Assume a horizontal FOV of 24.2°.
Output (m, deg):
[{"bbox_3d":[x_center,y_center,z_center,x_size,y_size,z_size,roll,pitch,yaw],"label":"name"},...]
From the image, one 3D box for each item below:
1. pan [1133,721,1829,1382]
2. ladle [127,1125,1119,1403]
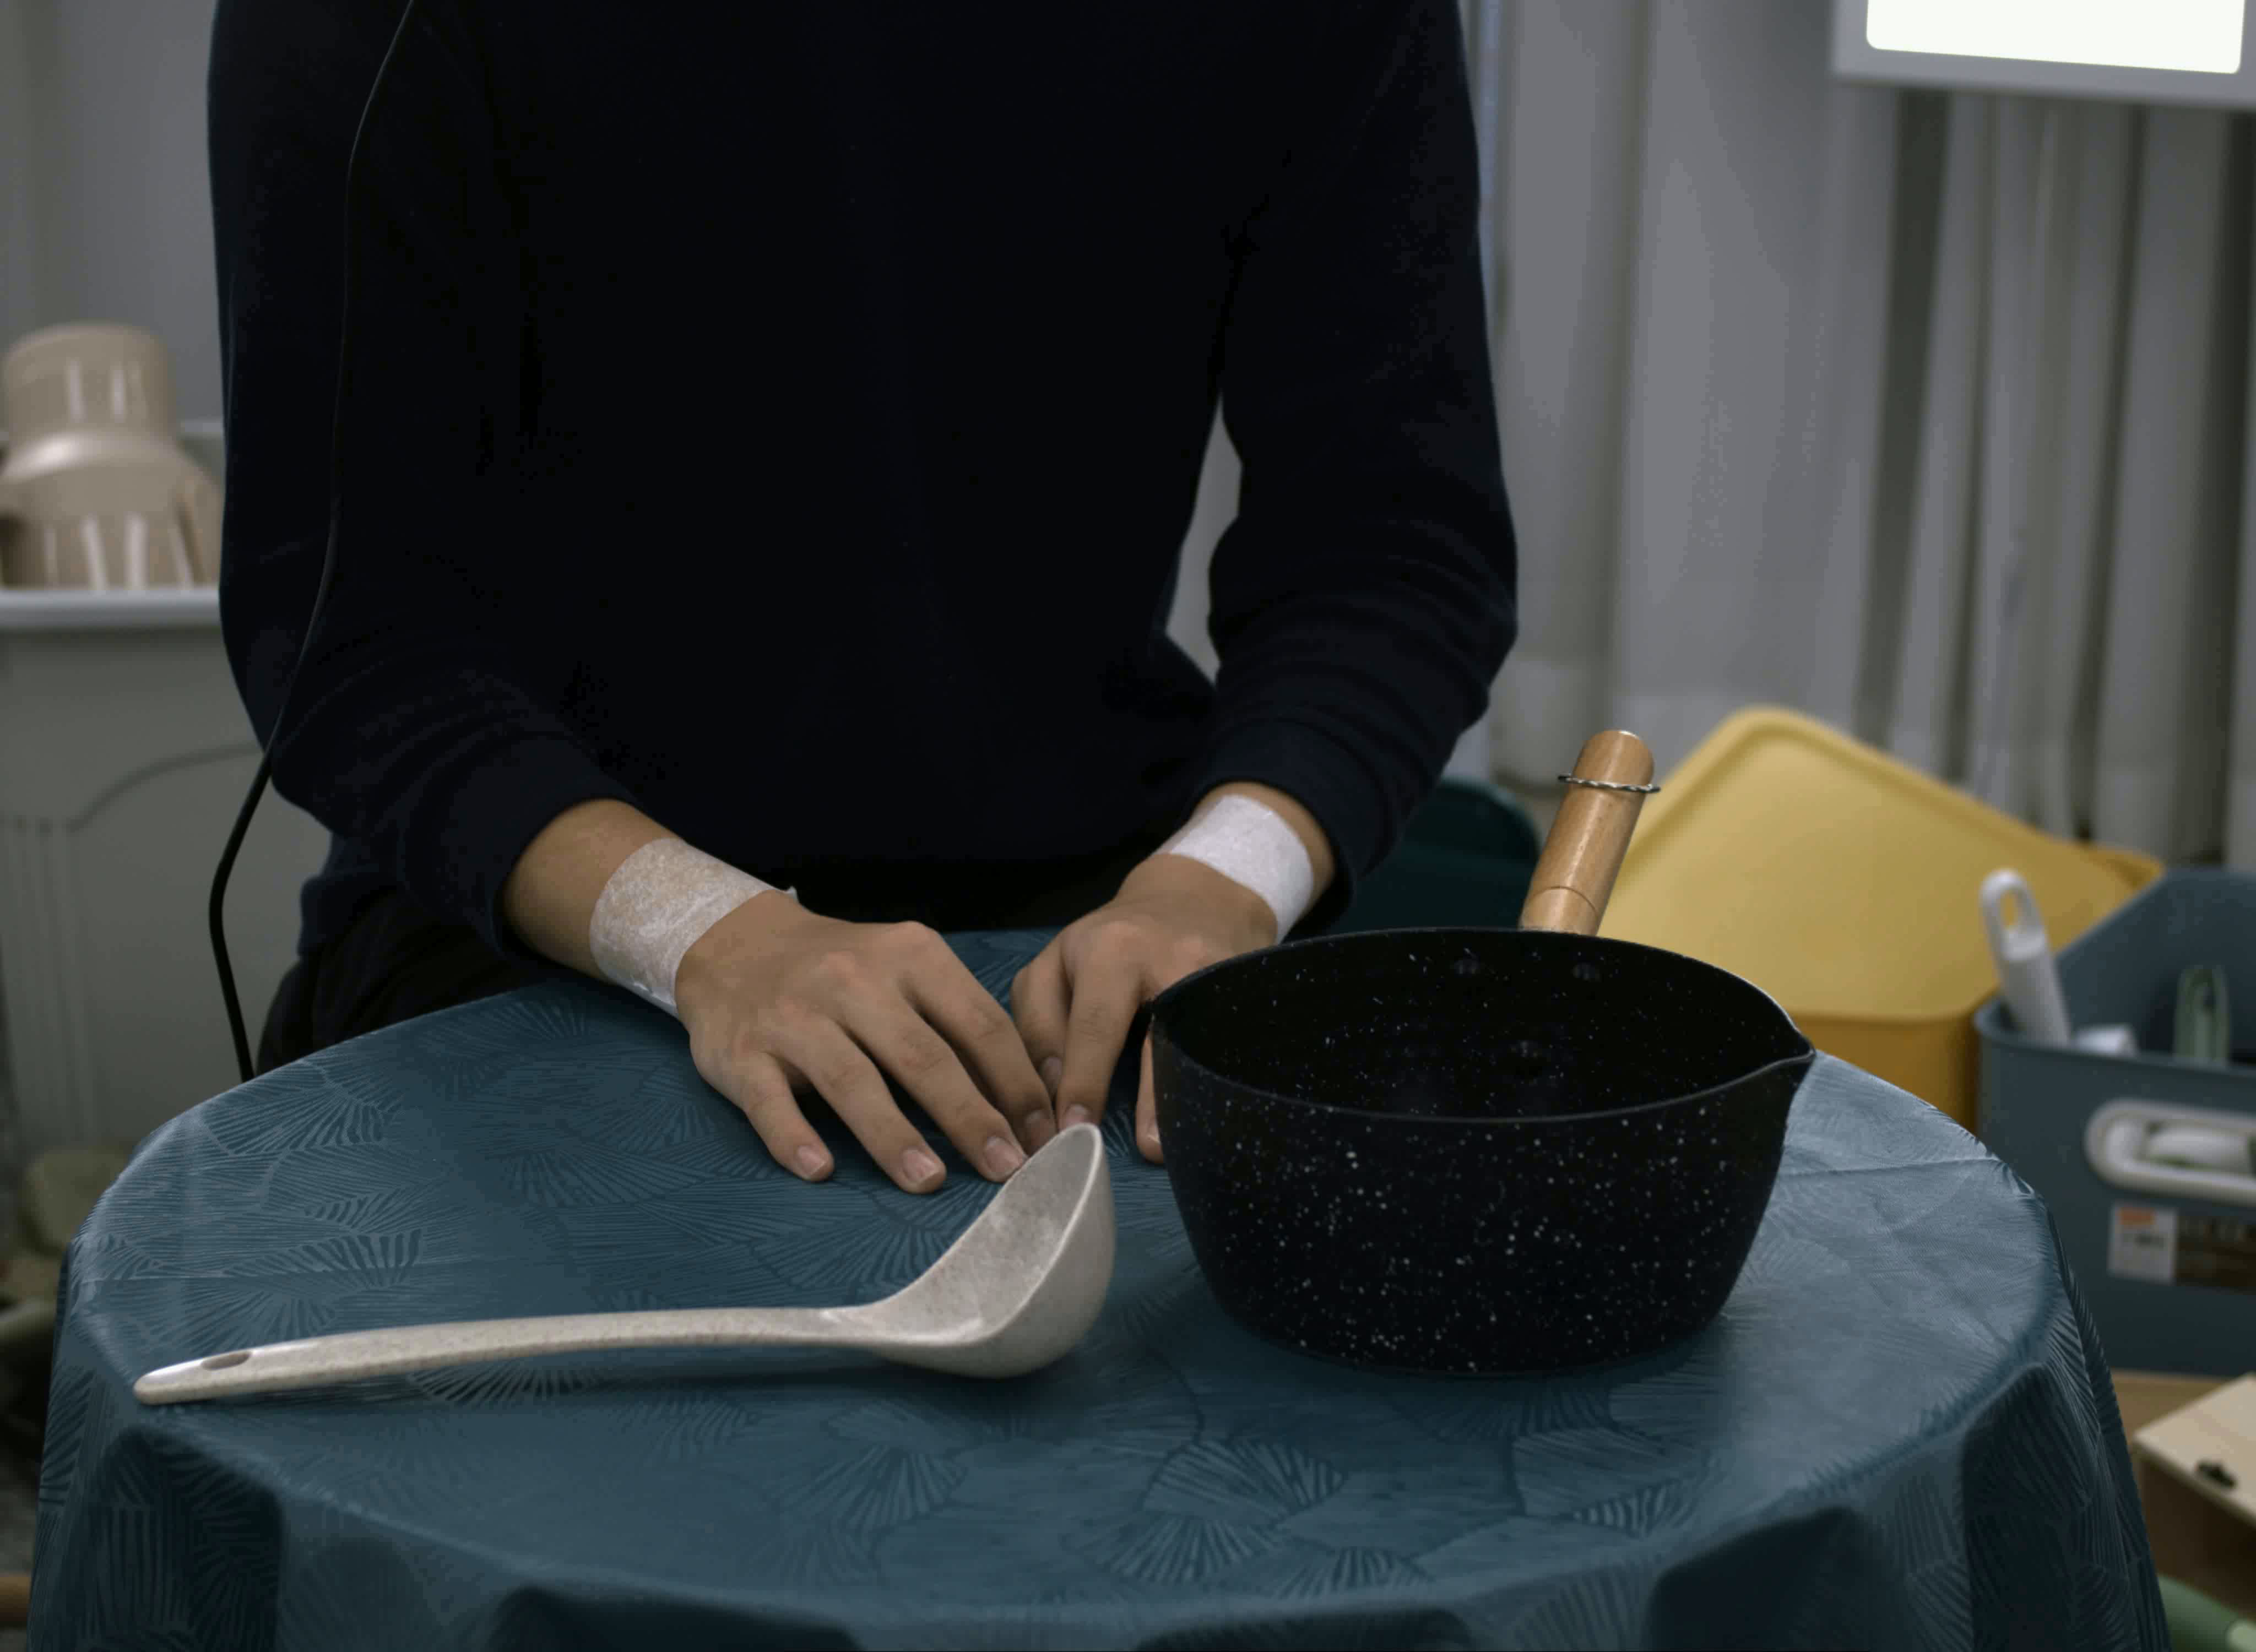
[{"bbox_3d":[0.118,0.063,1.600,0.206,0.109,0.342,3,17,13],"label":"pan"},{"bbox_3d":[-0.139,0.121,1.456,0.274,0.070,0.088,-1,21,-7],"label":"ladle"}]
